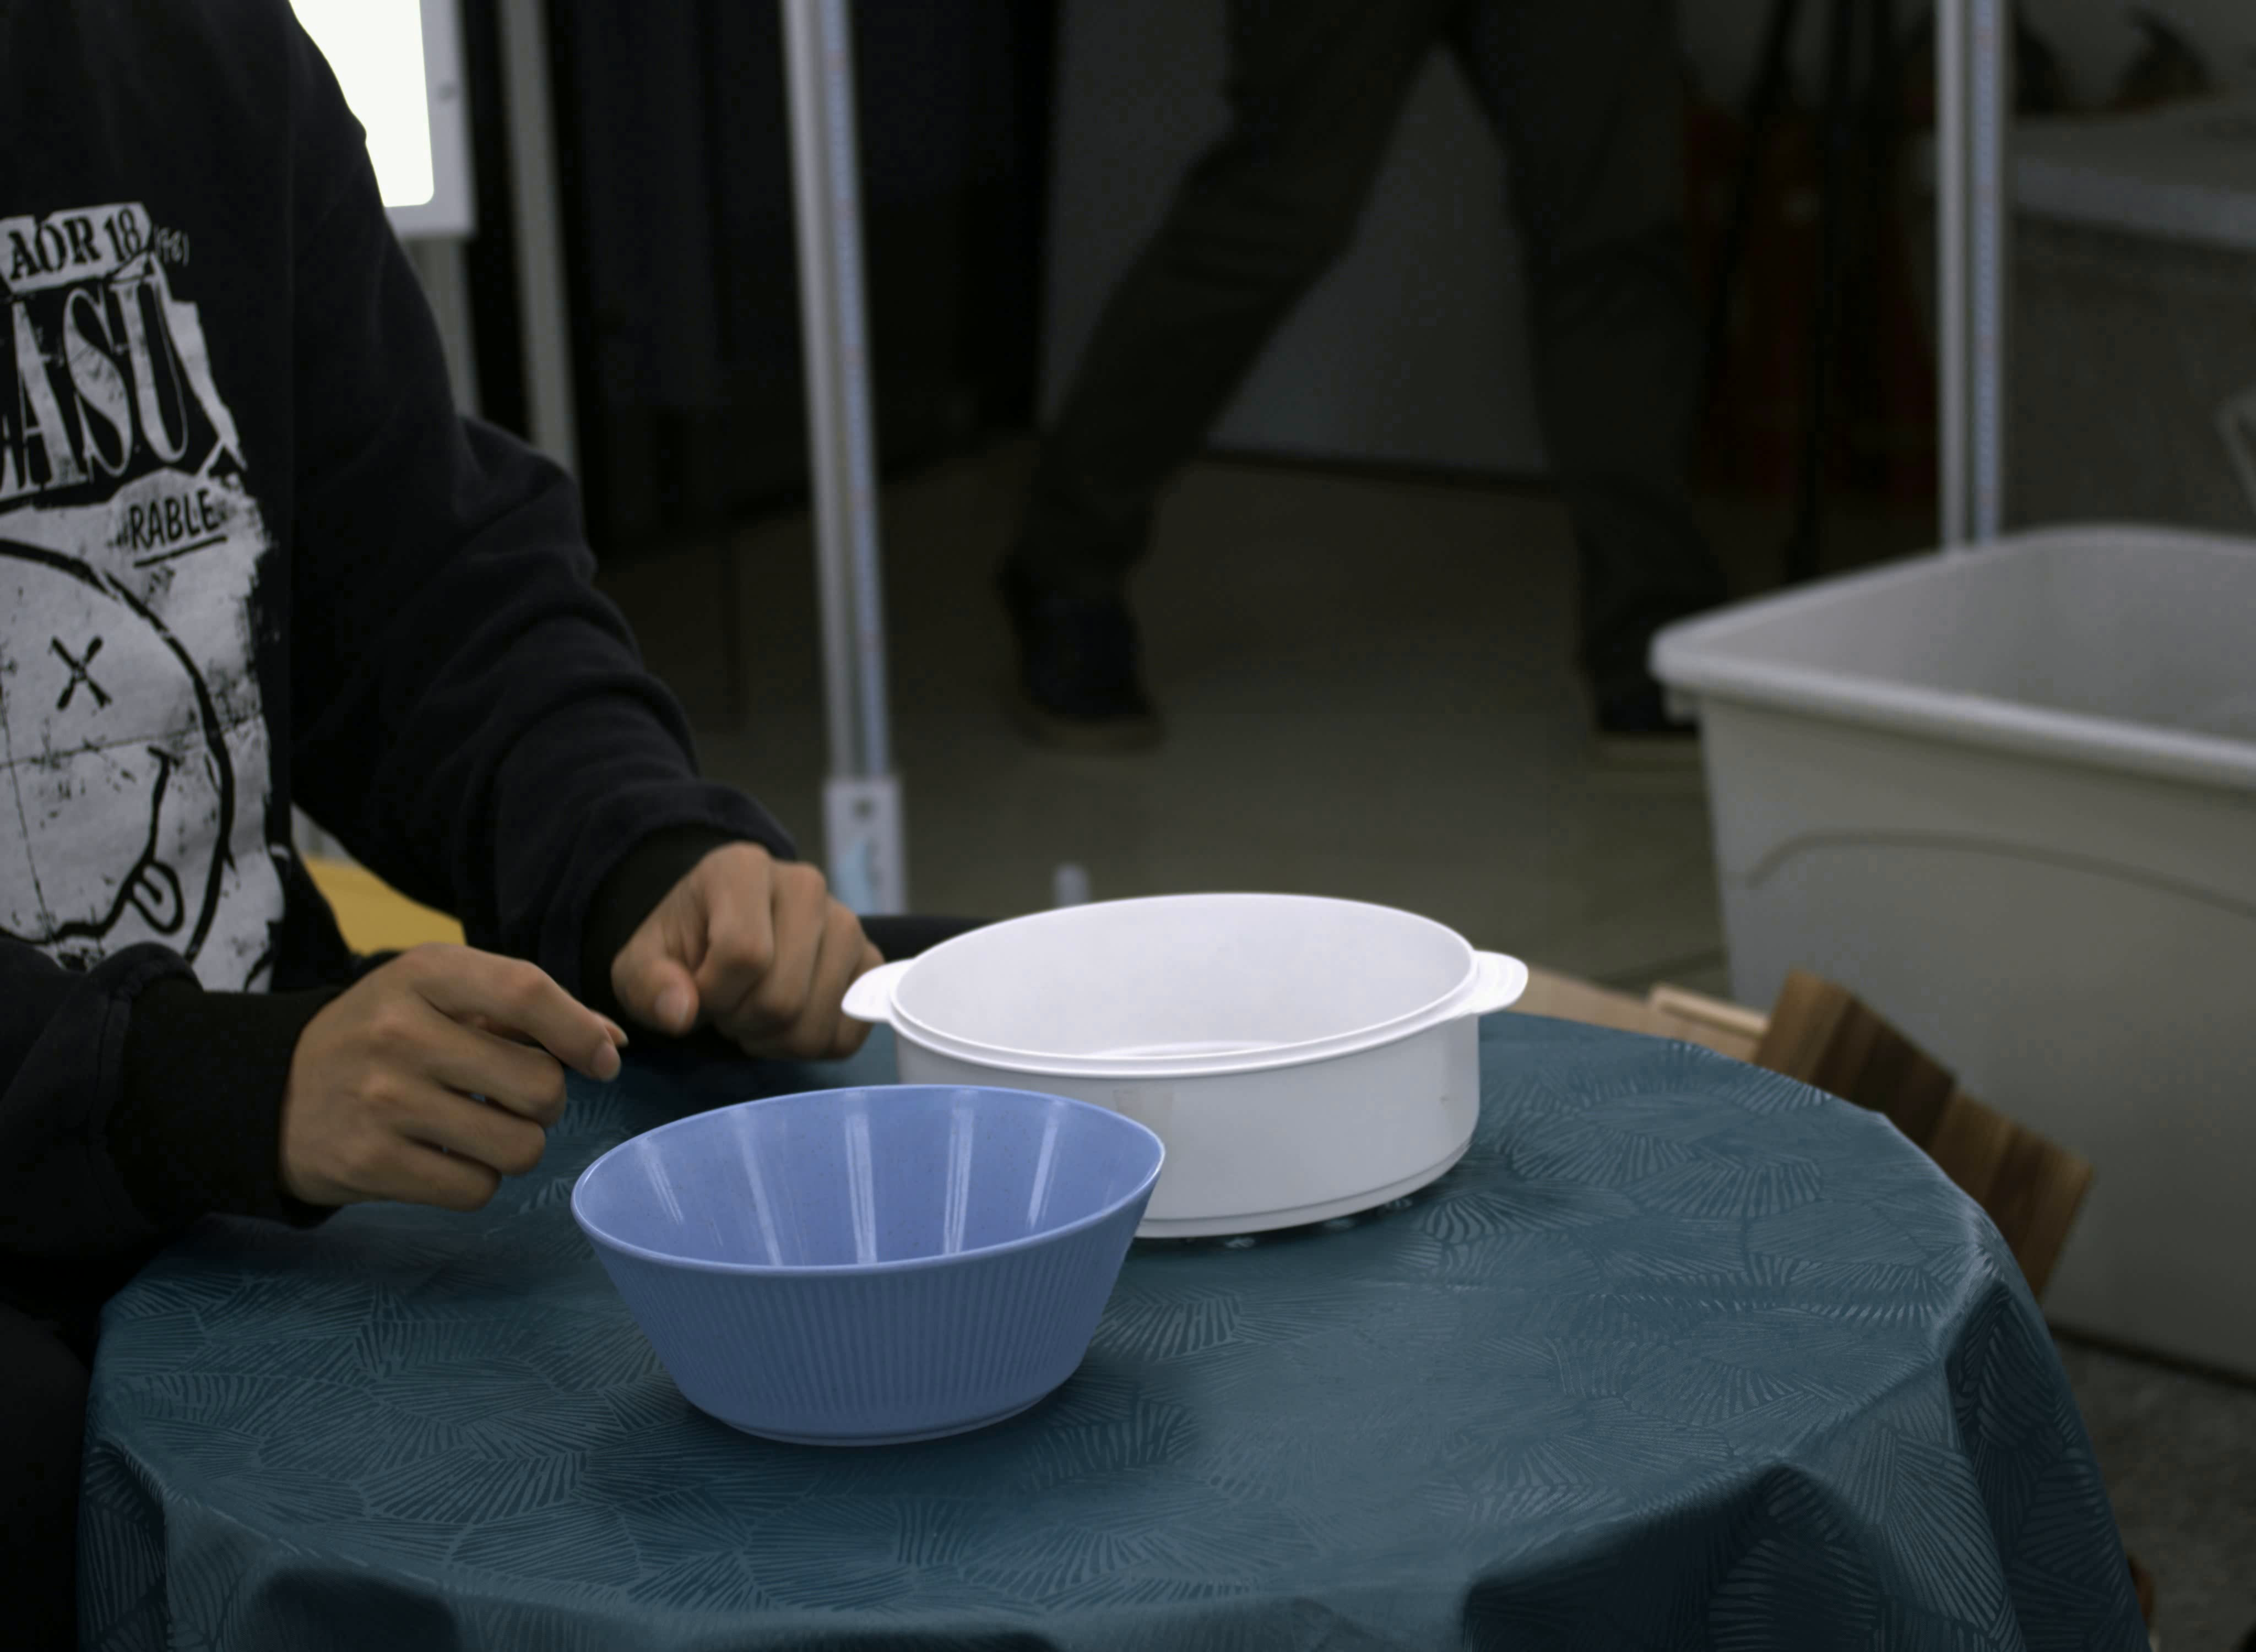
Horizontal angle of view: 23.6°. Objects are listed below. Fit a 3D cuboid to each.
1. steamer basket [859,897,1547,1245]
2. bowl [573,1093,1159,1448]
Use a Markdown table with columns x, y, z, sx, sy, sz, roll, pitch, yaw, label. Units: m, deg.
| x | y | z | sx | sy | sz | roll | pitch | yaw | label |
| --- | --- | --- | --- | --- | --- | --- | --- | --- | --- |
| 0.025 | 0.080 | 1.787 | 0.229 | 0.070 | 0.201 | 0 | 14 | 10 | steamer basket |
| -0.075 | 0.133 | 1.596 | 0.174 | 0.071 | 0.176 | -4 | 13 | 0 | bowl |
